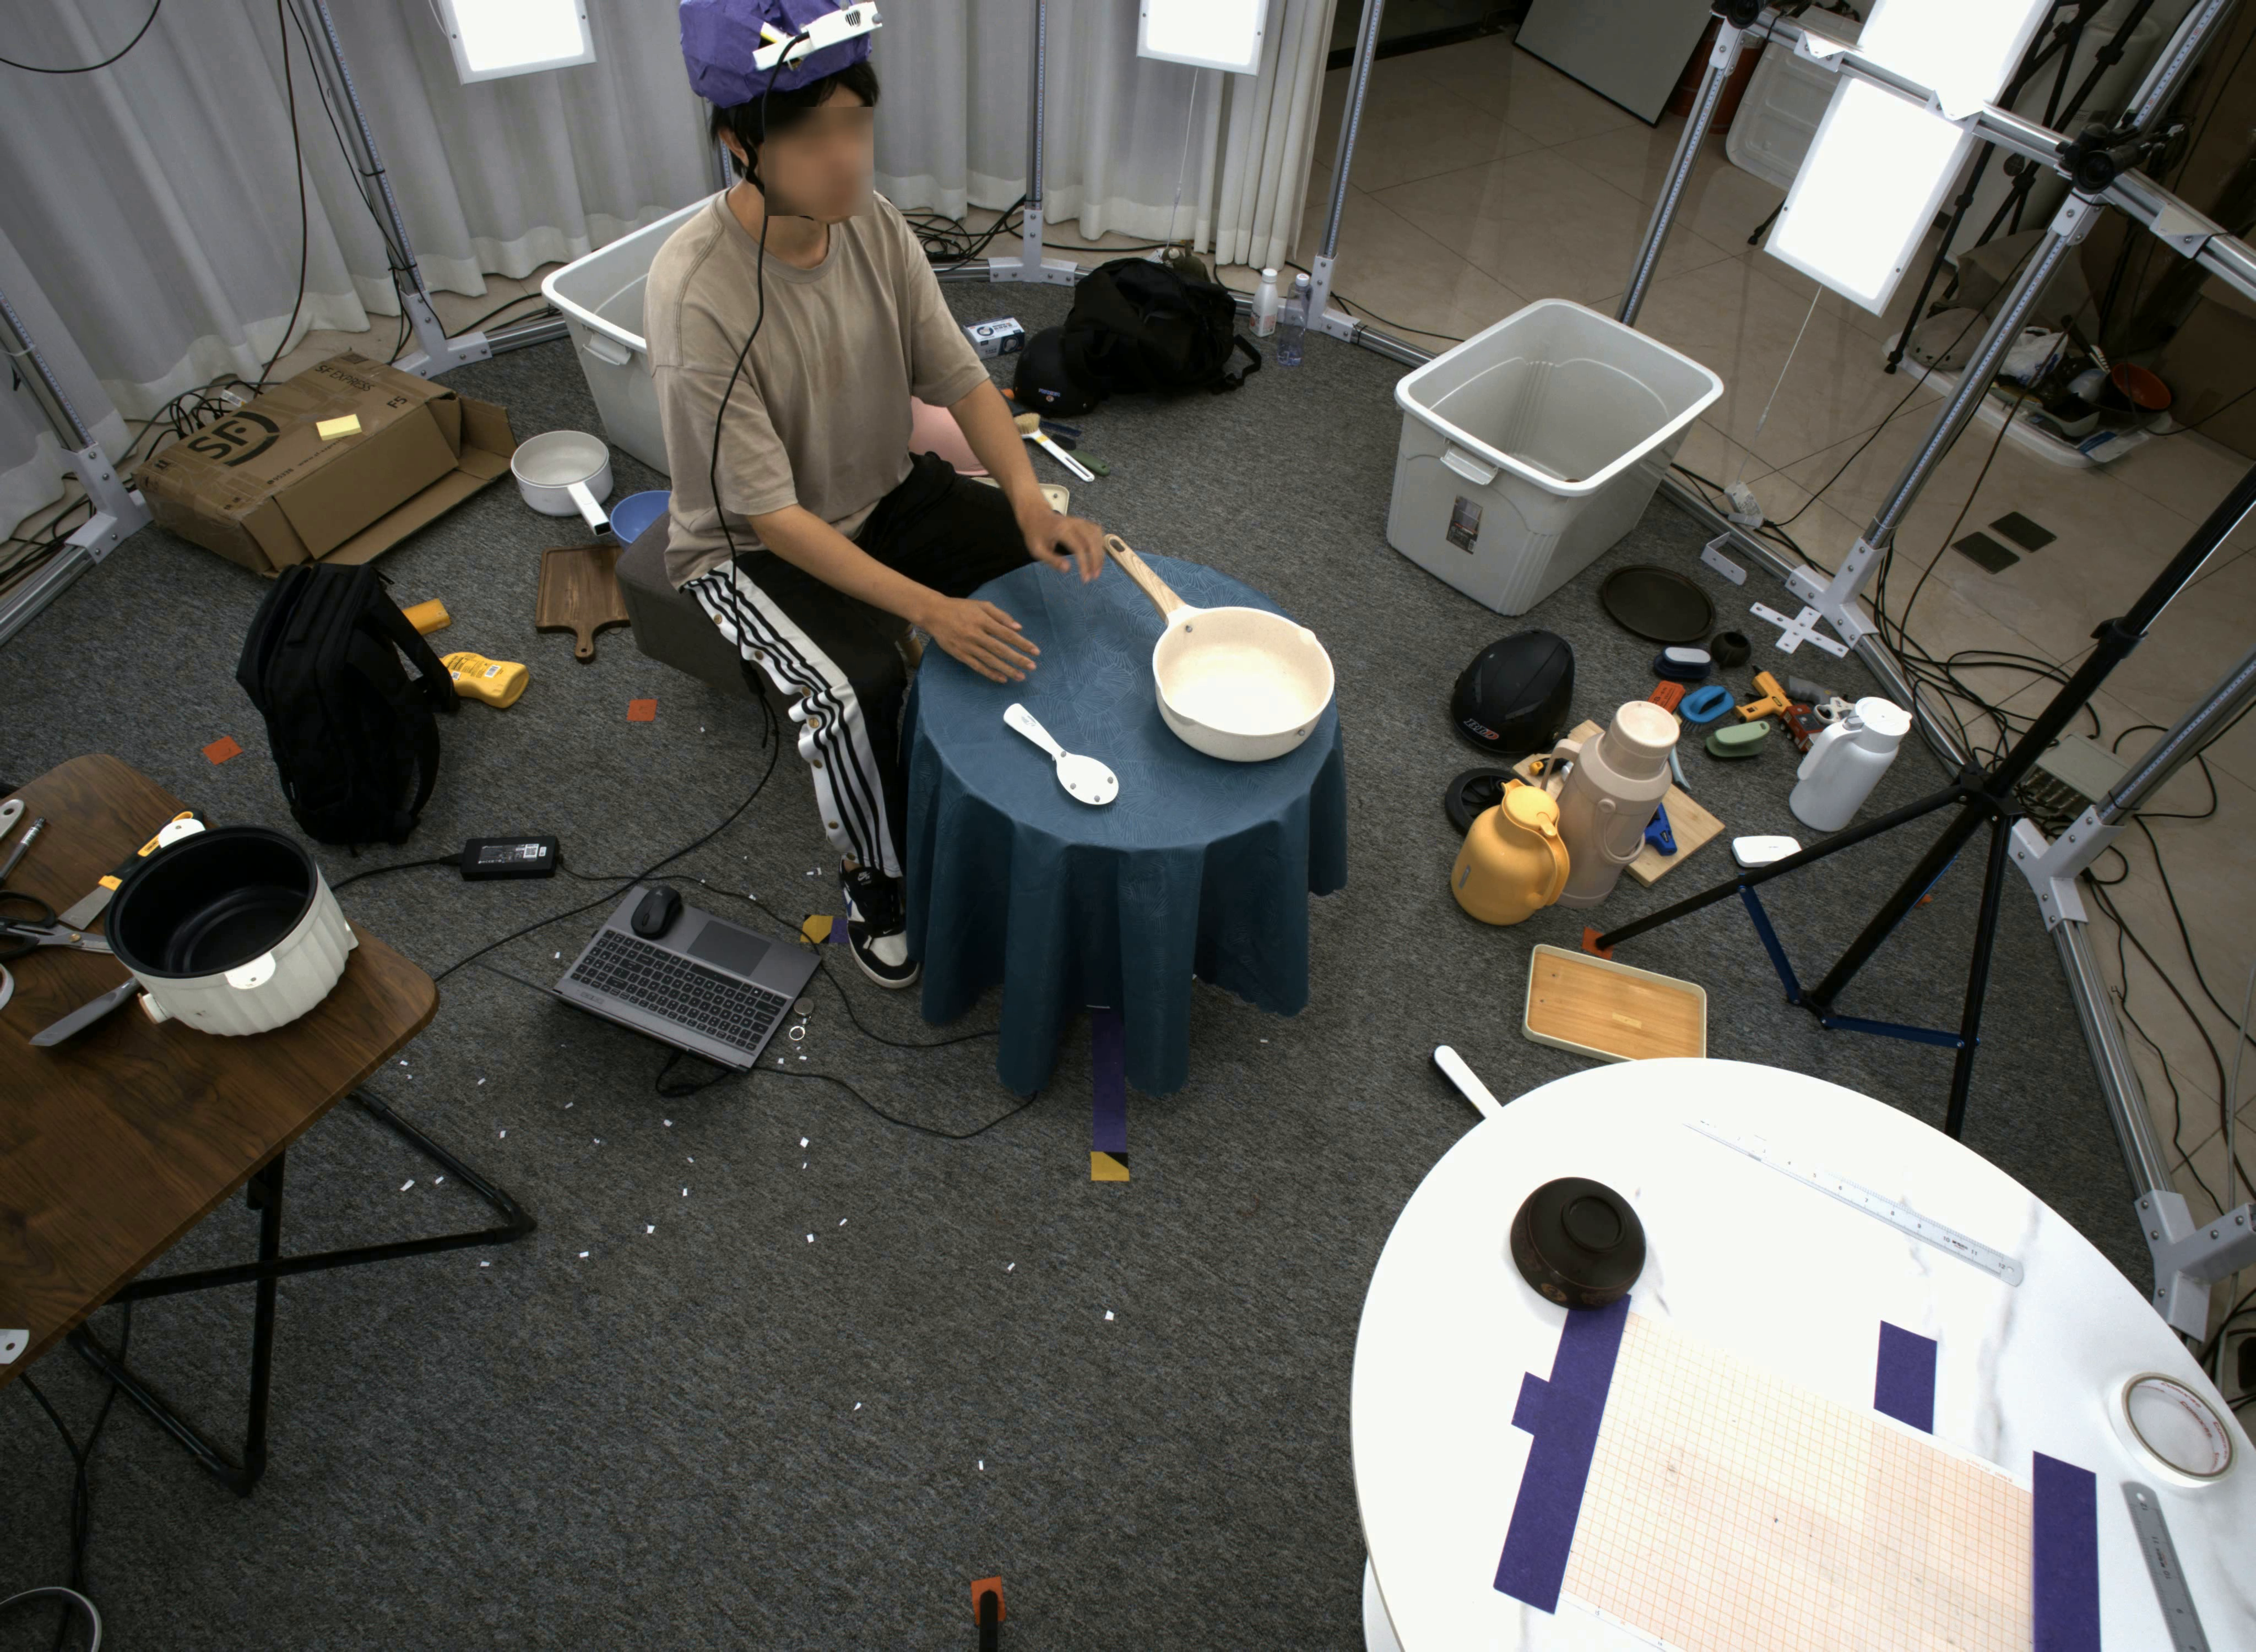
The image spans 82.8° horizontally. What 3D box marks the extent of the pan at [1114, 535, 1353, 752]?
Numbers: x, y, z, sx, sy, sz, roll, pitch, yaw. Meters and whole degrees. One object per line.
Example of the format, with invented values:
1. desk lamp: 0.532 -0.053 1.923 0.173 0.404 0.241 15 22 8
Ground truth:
1. pan: 0.124 -0.266 1.836 0.265 0.099 0.442 -30 57 -26

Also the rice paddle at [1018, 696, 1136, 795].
1. rice paddle: -0.069 -0.108 1.718 0.069 0.029 0.208 -34 60 -28
